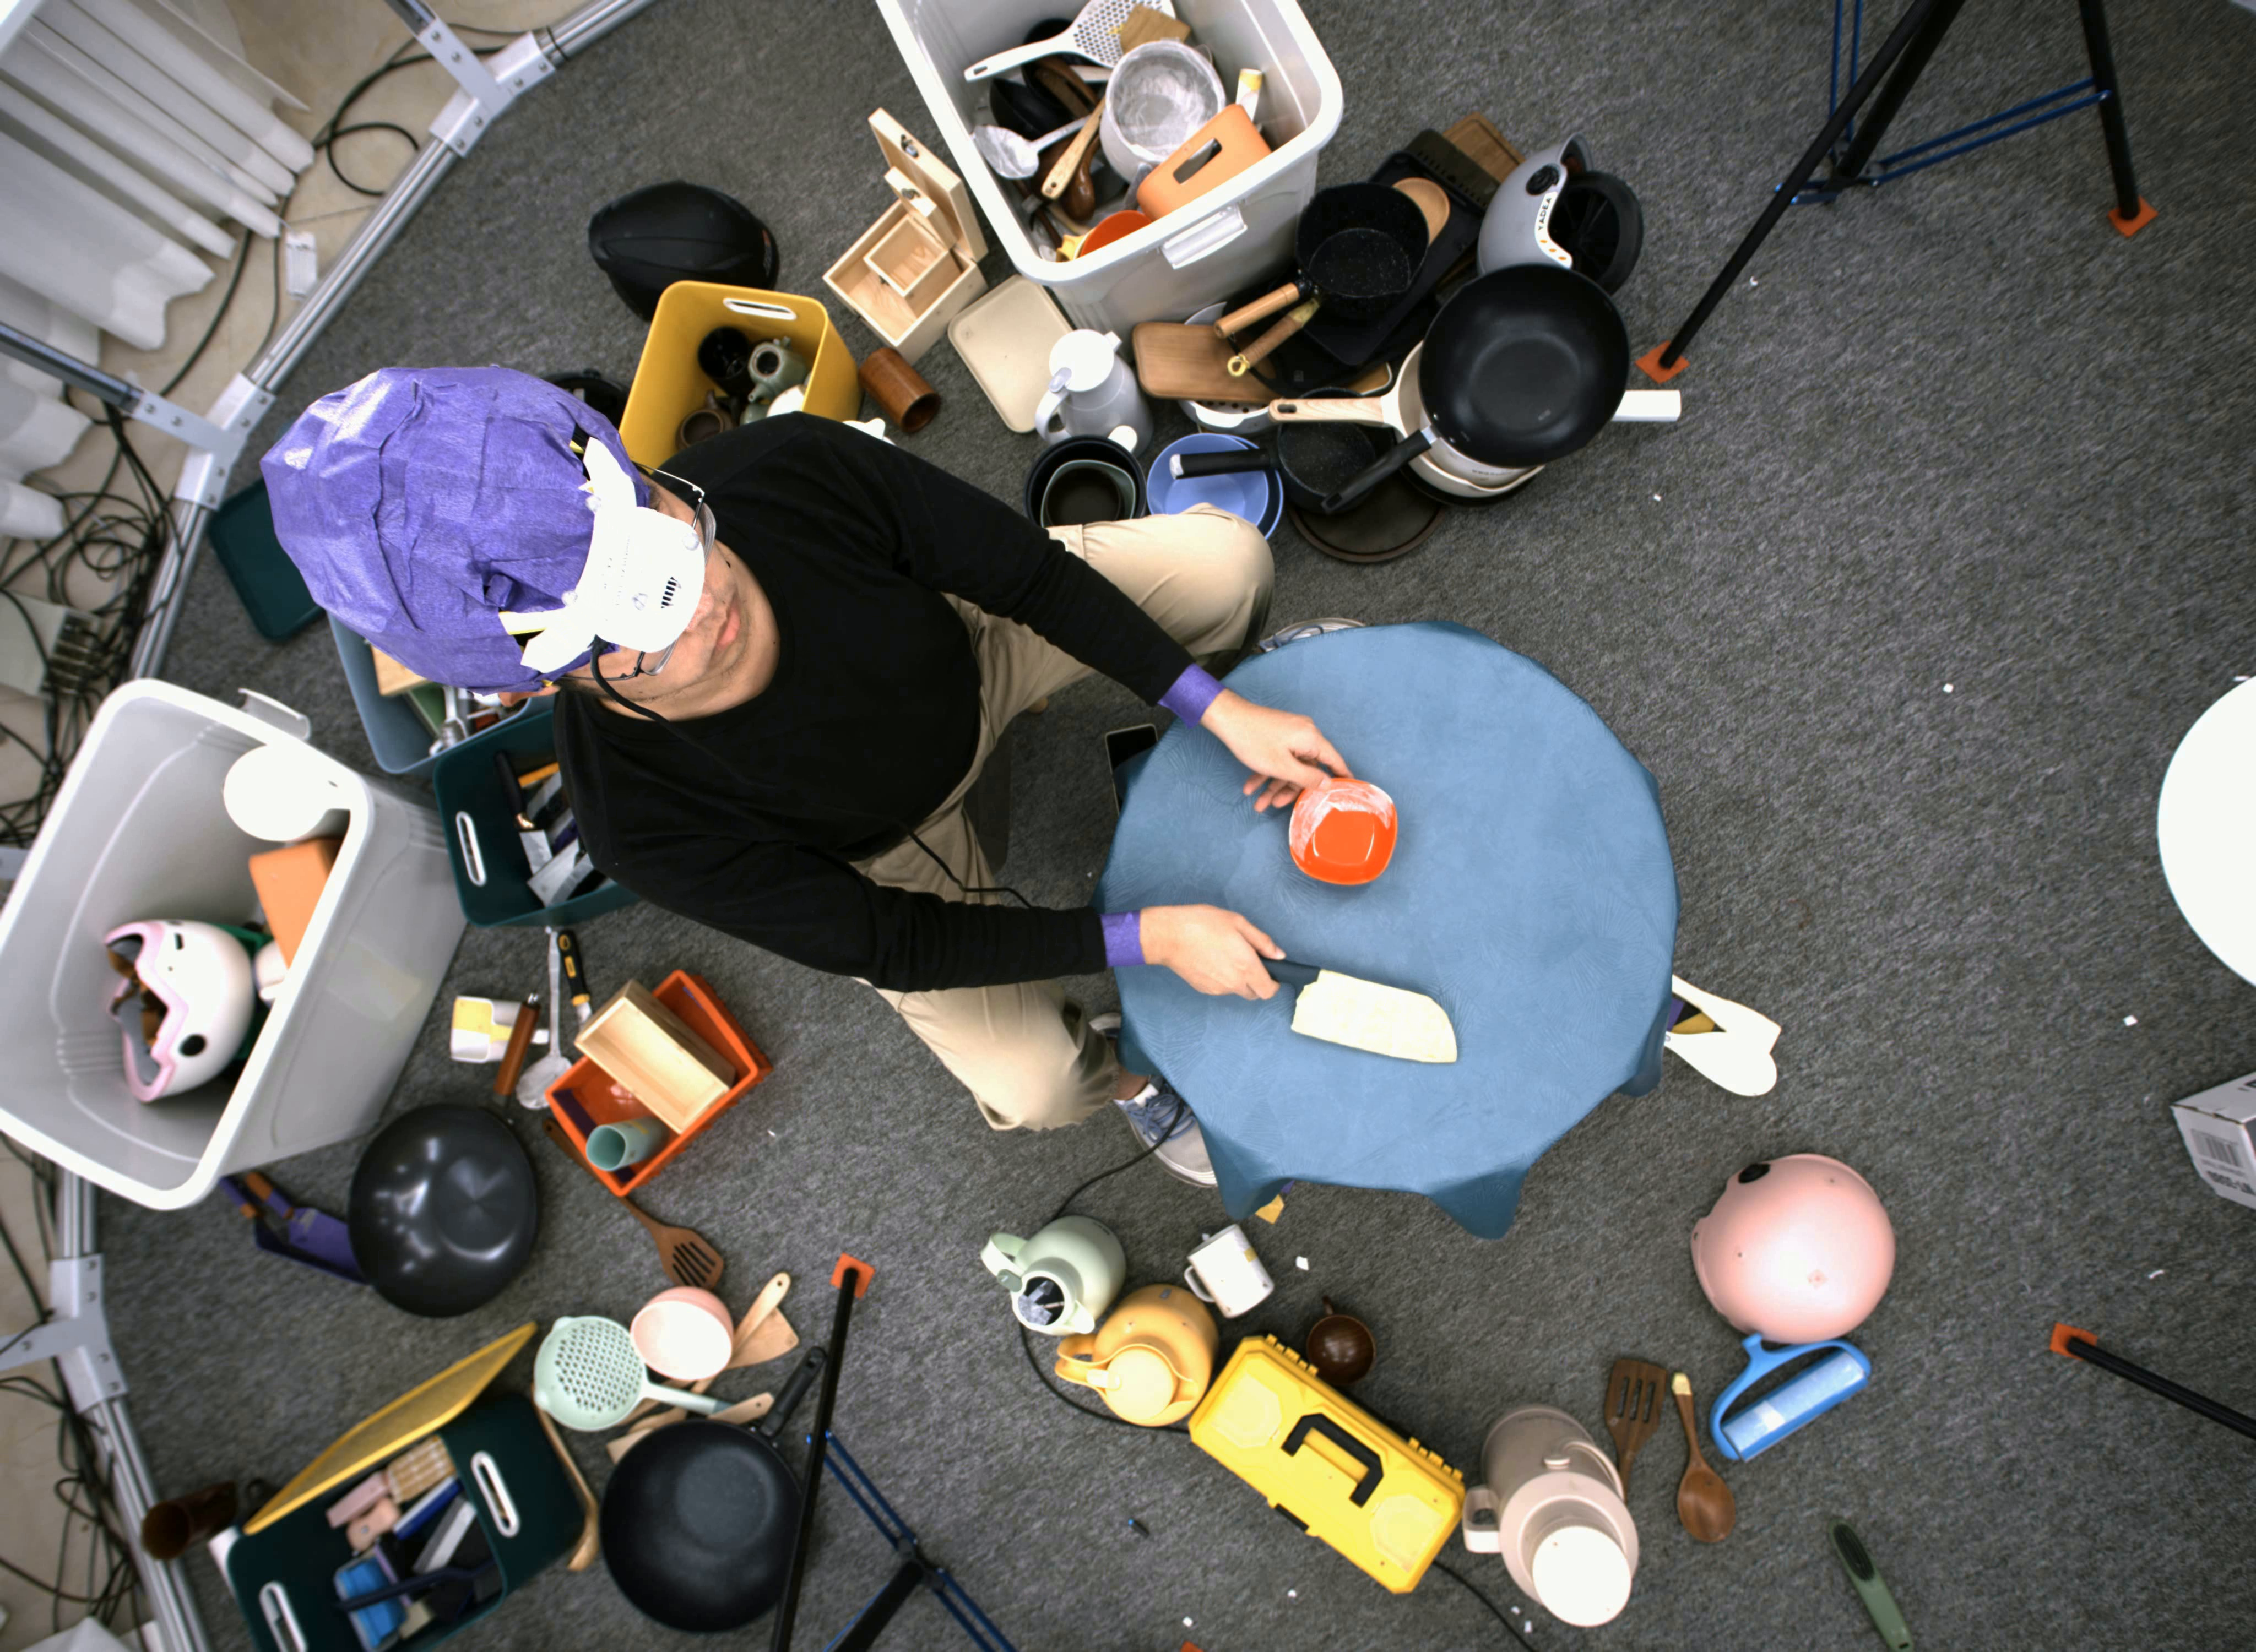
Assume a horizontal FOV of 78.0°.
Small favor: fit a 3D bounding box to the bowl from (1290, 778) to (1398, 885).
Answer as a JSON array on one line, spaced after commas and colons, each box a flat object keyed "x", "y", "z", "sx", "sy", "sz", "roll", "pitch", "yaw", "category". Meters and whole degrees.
[{"x": 0.226, "y": 0.006, "z": 1.446, "sx": 0.119, "sy": 0.051, "sz": 0.118, "roll": 0, "pitch": 89, "yaw": 10, "category": "bowl"}]

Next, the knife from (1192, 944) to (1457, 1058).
[{"x": 0.202, "y": 0.180, "z": 1.440, "sx": 0.290, "sy": 0.027, "sz": 0.082, "roll": 17, "pitch": 106, "yaw": 7, "category": "knife"}]
